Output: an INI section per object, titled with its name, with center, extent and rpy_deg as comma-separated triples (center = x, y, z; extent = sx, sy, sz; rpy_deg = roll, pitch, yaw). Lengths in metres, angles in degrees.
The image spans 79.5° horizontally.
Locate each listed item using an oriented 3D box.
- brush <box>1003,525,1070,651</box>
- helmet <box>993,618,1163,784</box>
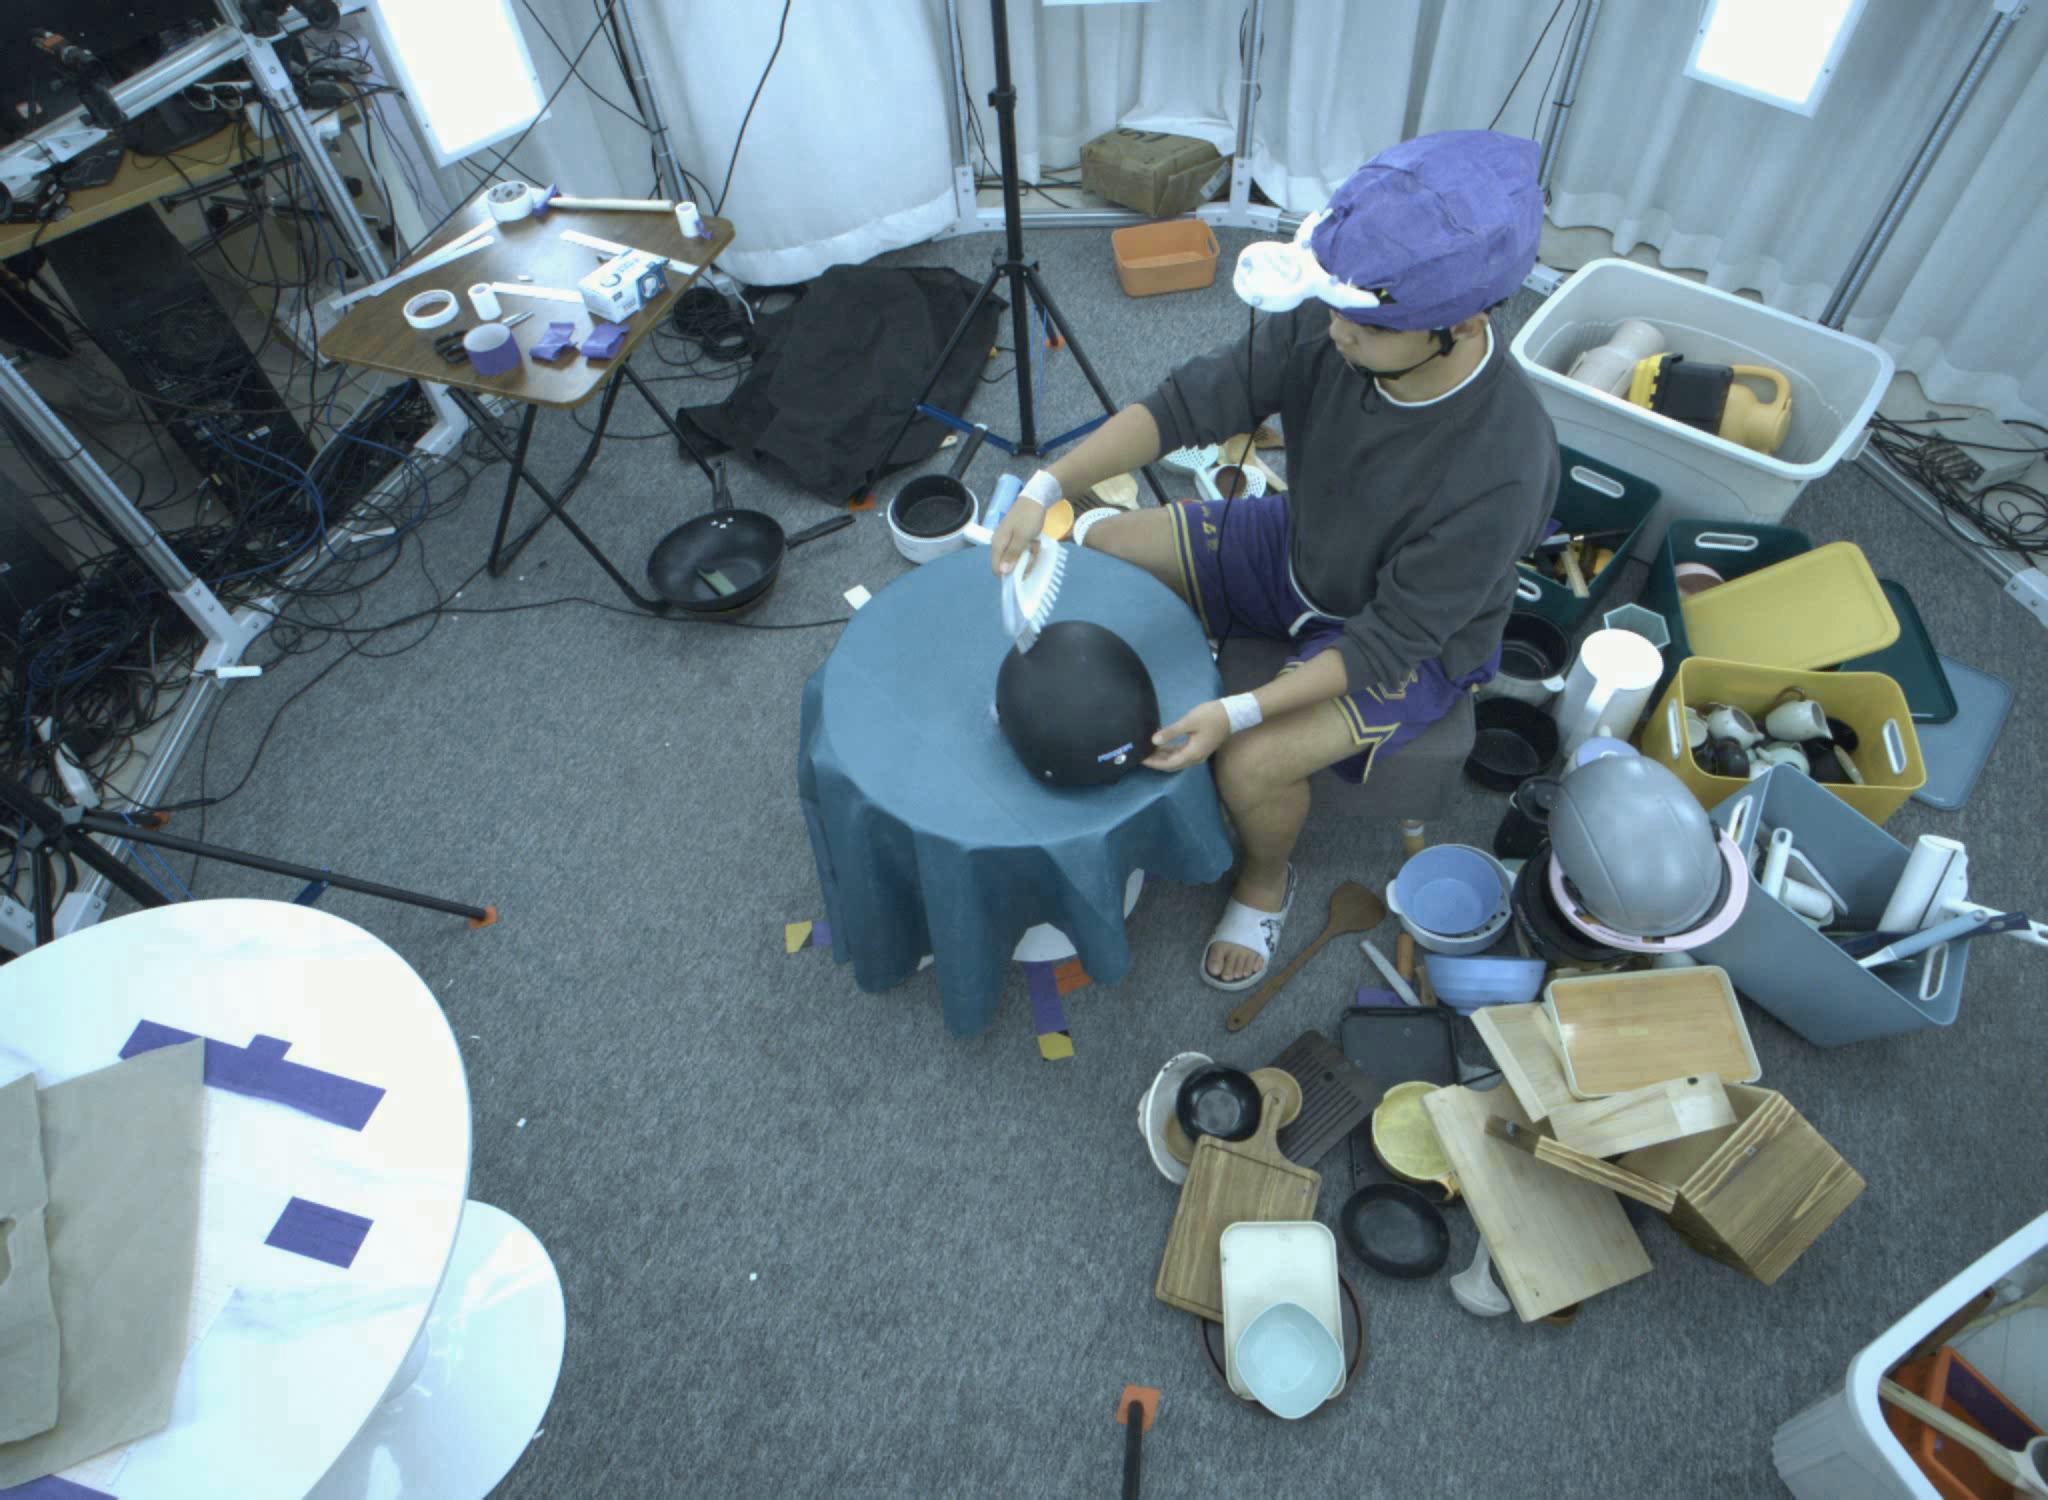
[brush]
center = 0.005, -0.235, 1.718
extent = 0.060, 0.096, 0.175
rpy_deg = 0, 66, 36
[helmet]
center = 0.074, -0.090, 1.753
extent = 0.232, 0.168, 0.268
rpy_deg = -20, 54, -12
